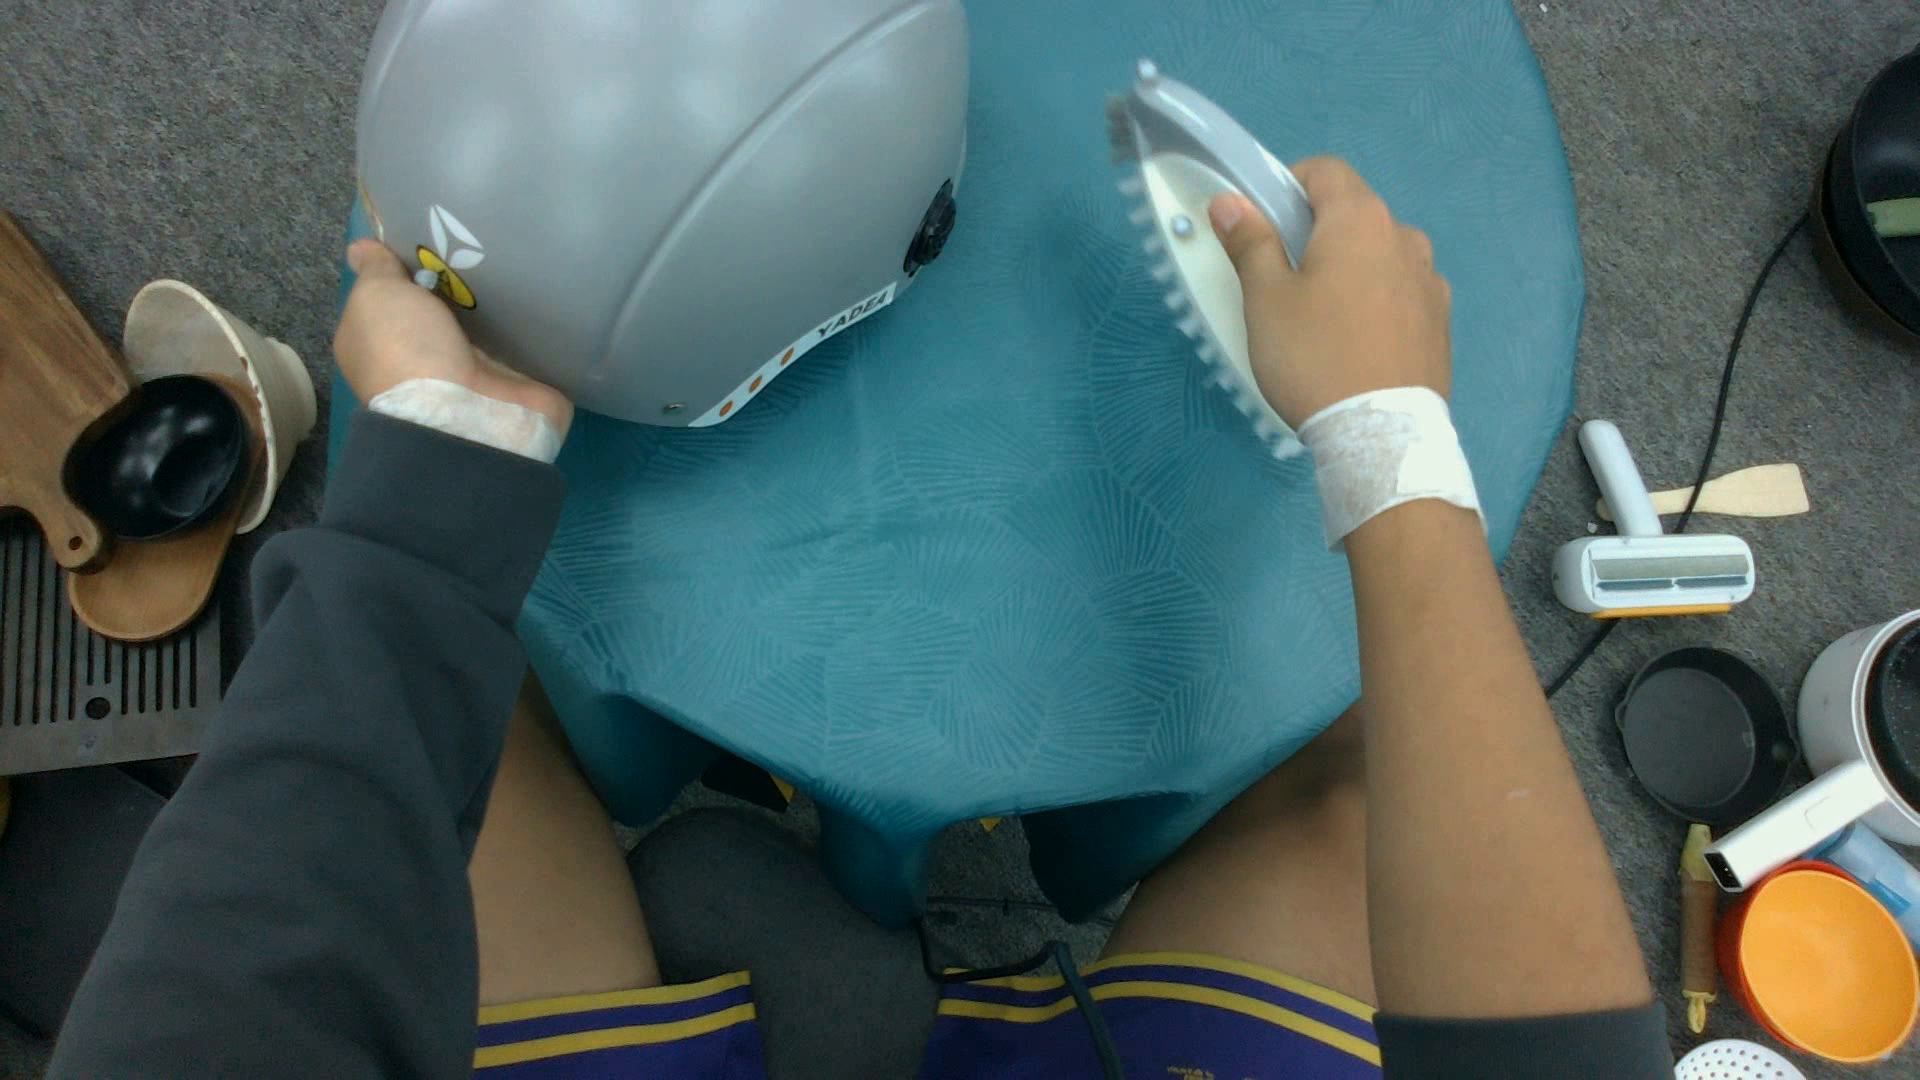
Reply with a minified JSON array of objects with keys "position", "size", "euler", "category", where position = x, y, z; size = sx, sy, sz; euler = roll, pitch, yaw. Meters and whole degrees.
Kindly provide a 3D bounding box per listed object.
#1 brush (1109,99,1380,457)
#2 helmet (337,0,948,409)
[{"position":[0.121,-0.127,0.598],"size":[0.061,0.094,0.175],"euler":[-30,81,-10],"category":"brush"},{"position":[-0.113,-0.196,0.547],"size":[0.232,0.168,0.277],"euler":[43,71,-3],"category":"helmet"}]
